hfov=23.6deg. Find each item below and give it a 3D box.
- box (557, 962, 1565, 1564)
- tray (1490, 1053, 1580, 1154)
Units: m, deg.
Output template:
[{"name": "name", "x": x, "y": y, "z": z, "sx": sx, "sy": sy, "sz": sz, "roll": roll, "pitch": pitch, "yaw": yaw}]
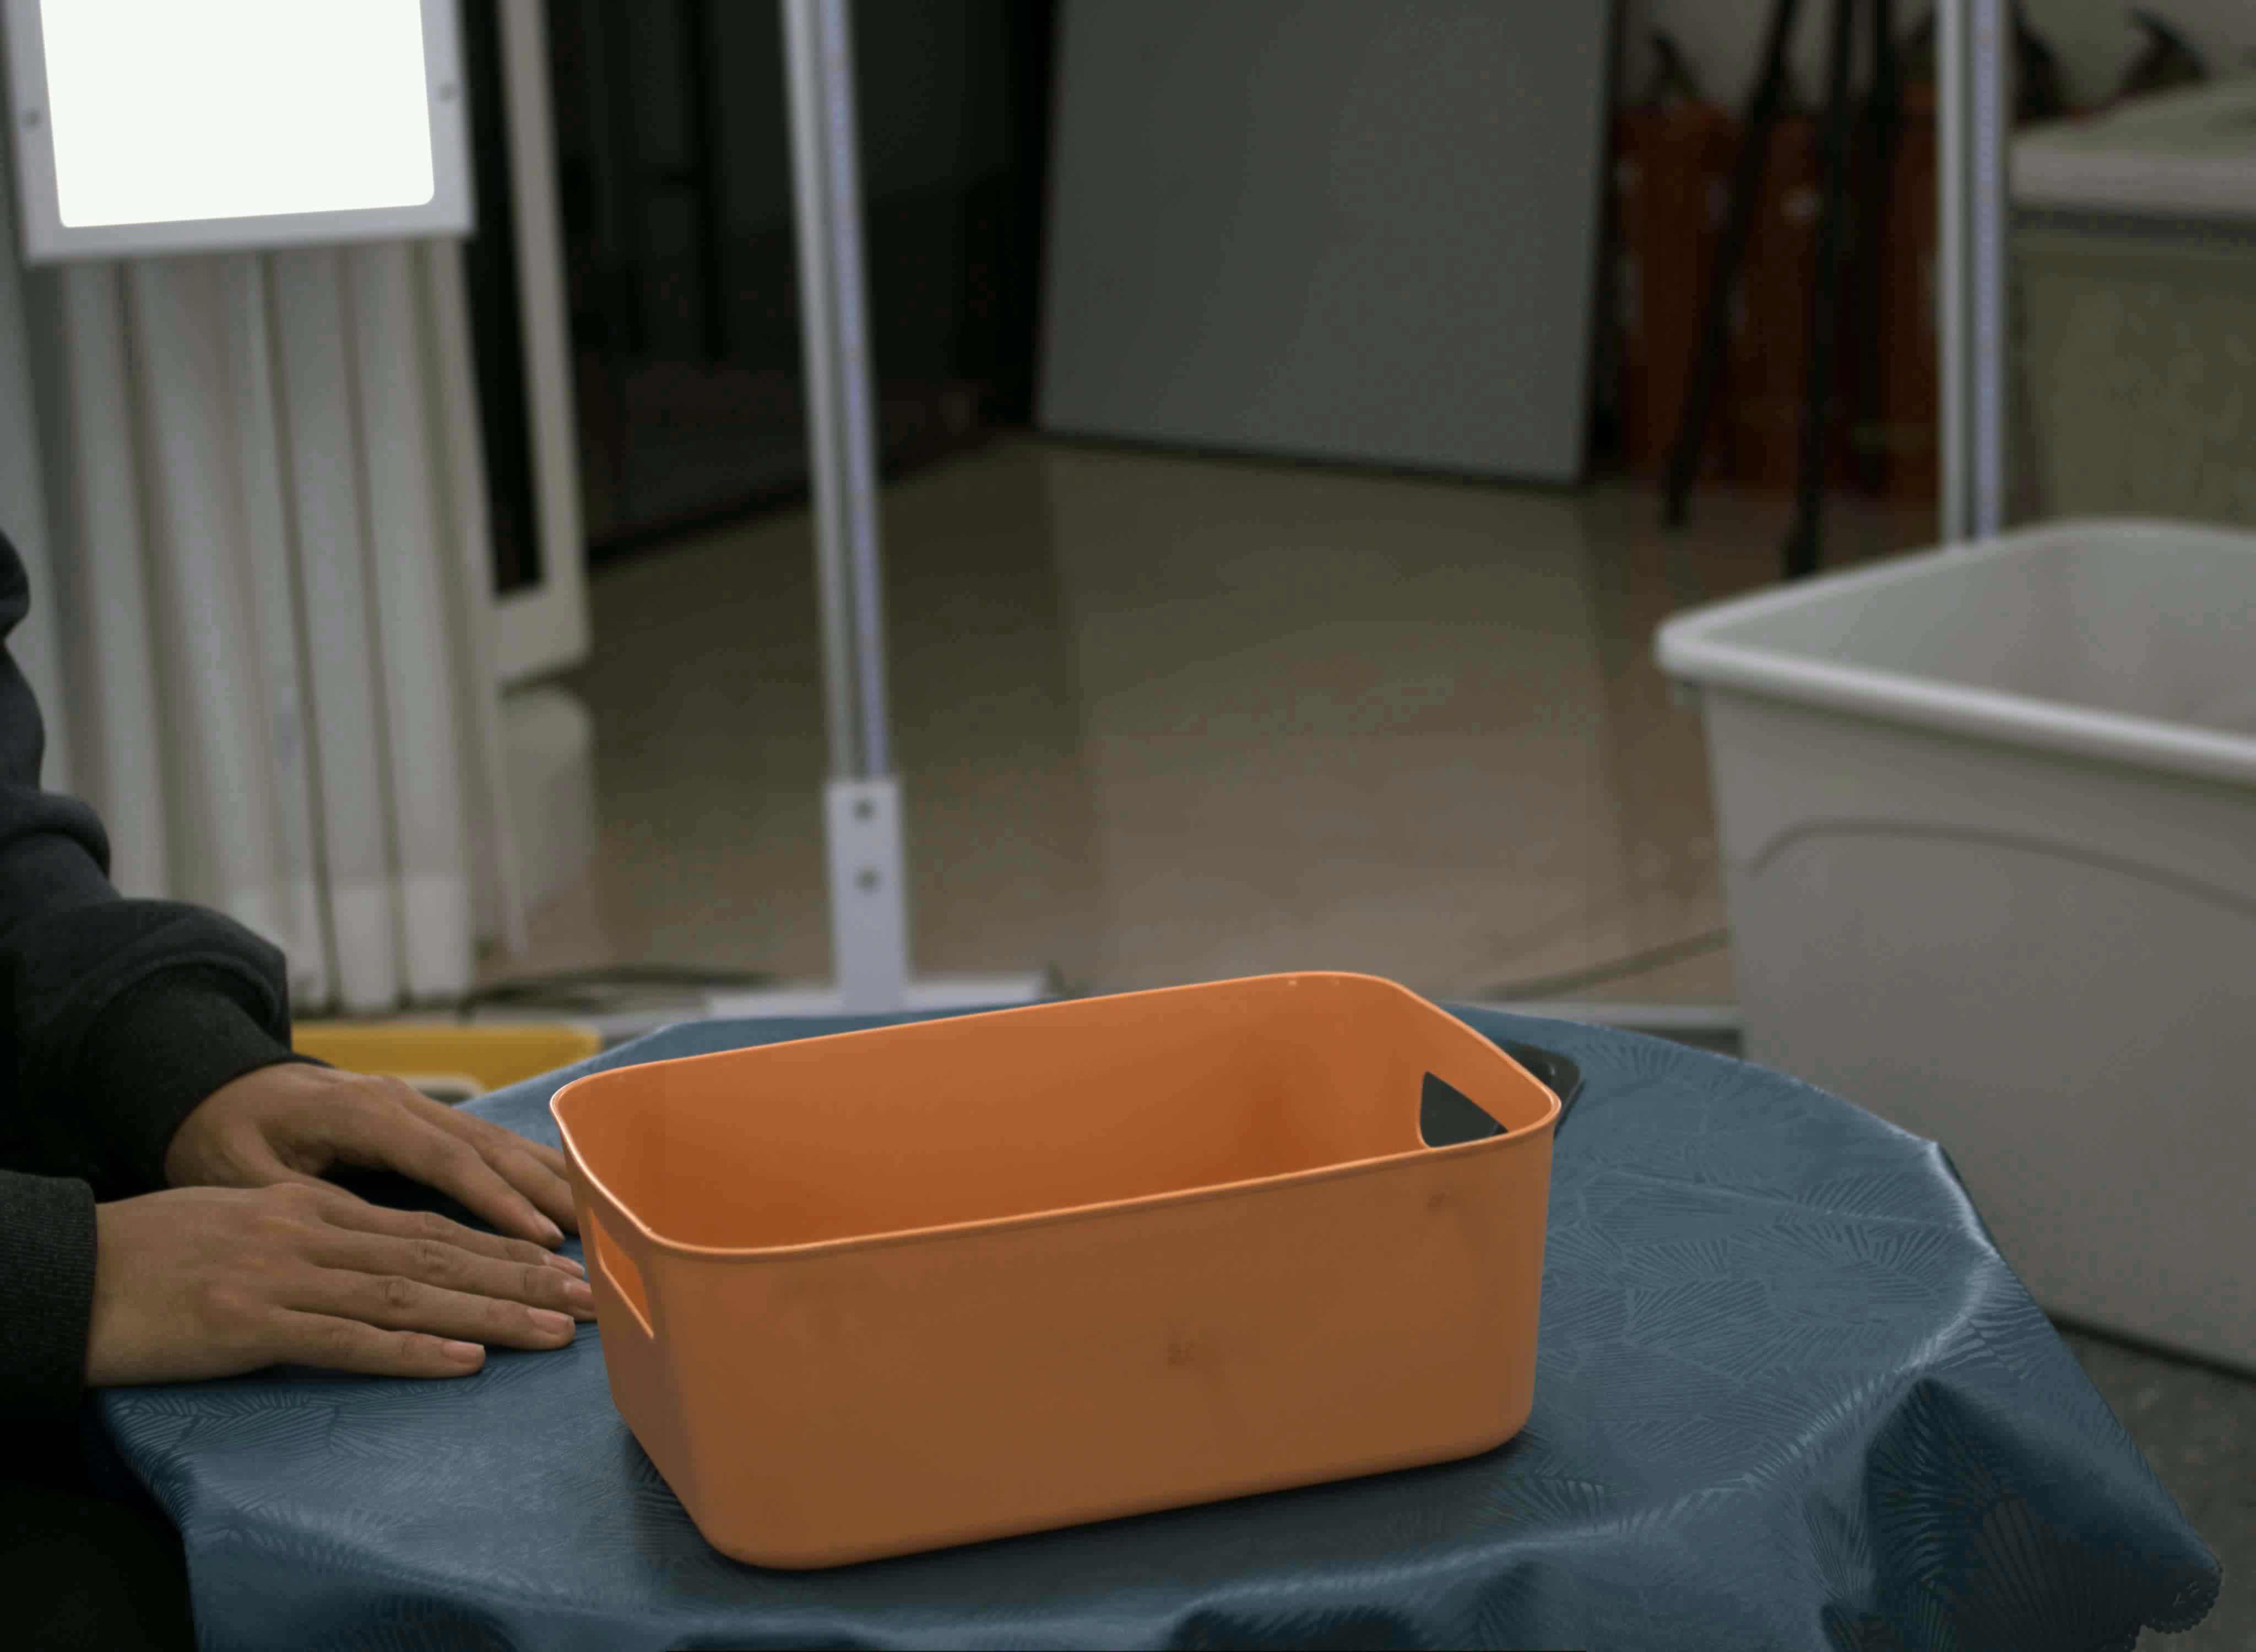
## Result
[{"name": "box", "x": -0.020, "y": 0.122, "z": 1.547, "sx": 0.268, "sy": 0.104, "sz": 0.201, "roll": -7, "pitch": 14, "yaw": -16}, {"name": "tray", "x": -0.015, "y": 0.104, "z": 1.831, "sx": 0.324, "sy": 0.010, "sz": 0.209, "roll": 0, "pitch": 14, "yaw": 16}]
